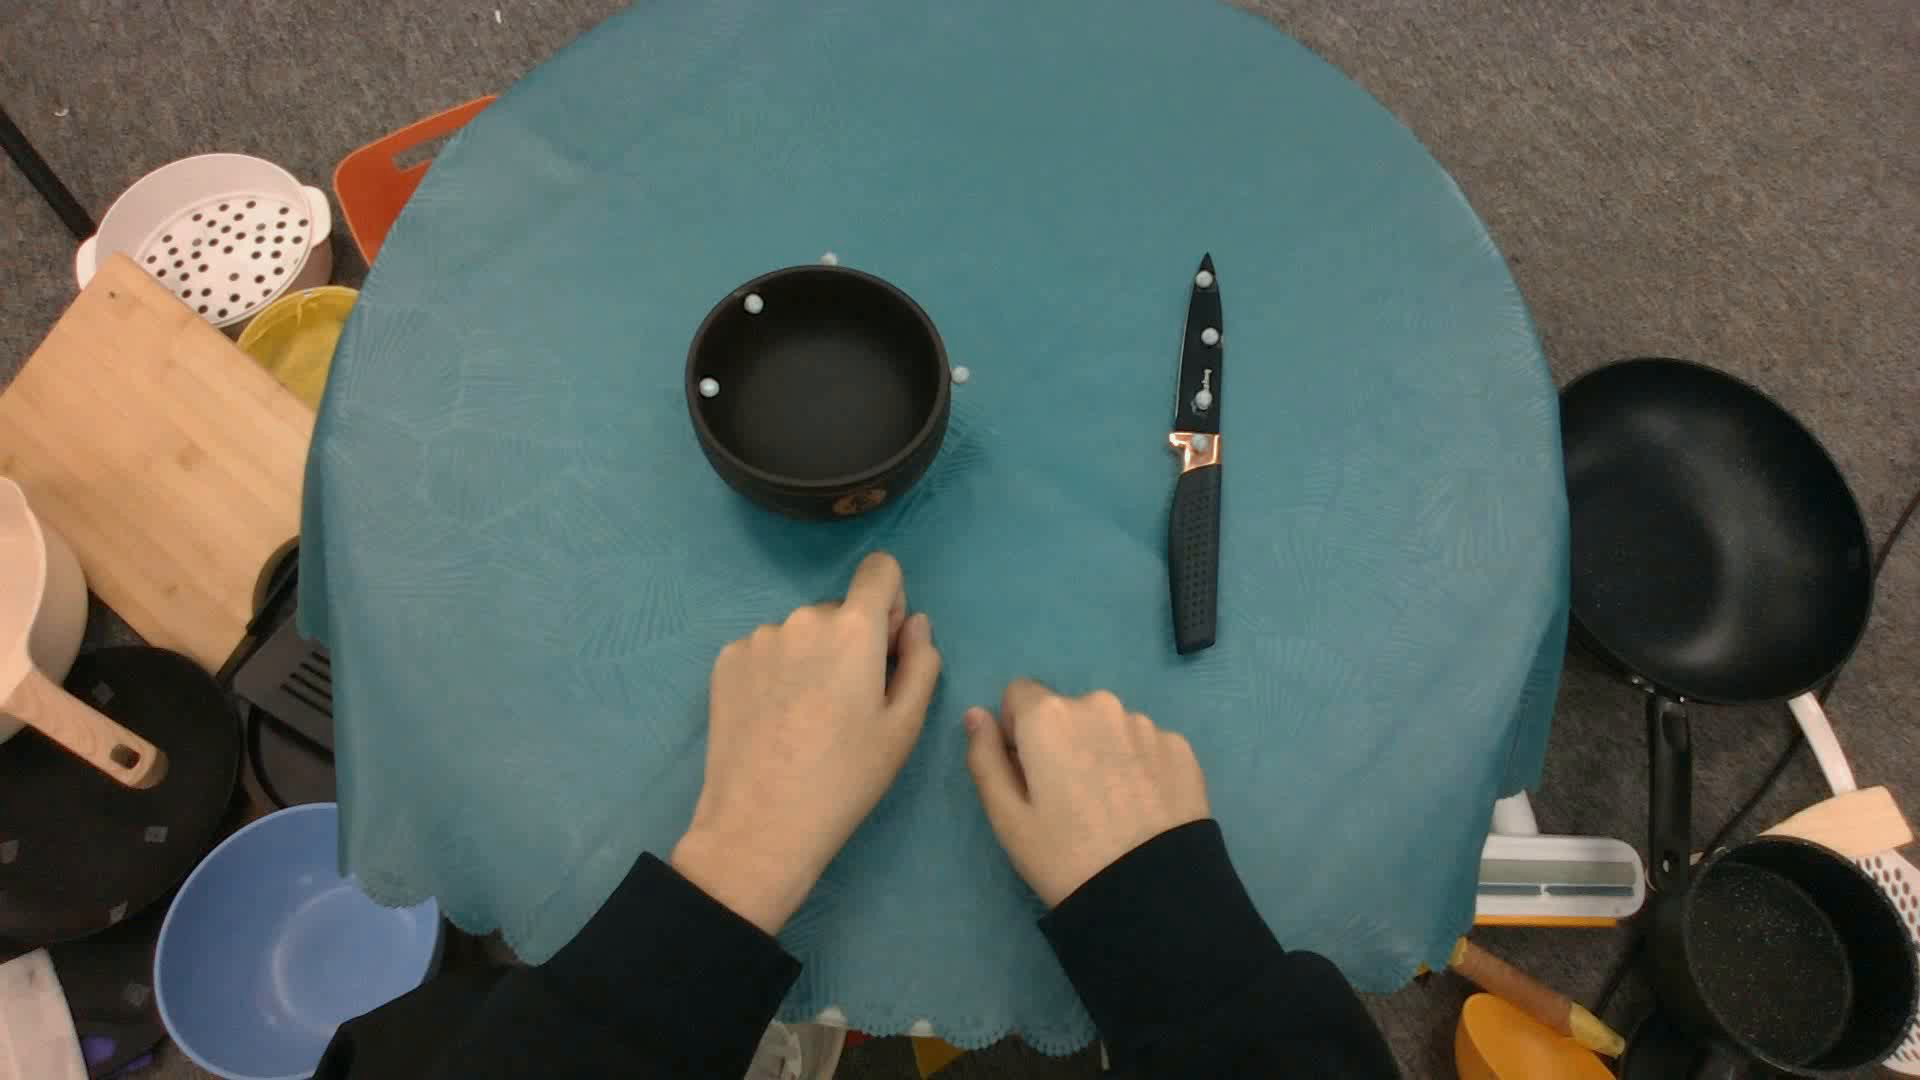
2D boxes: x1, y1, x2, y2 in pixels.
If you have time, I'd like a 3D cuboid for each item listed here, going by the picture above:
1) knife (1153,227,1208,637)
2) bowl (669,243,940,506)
[{"bbox_3d":[0.106,-0.059,0.665,0.026,0.017,0.226,2,65,6],"label":"knife"},{"bbox_3d":[-0.068,-0.068,0.625,0.118,0.069,0.118,0,67,0],"label":"bowl"}]
